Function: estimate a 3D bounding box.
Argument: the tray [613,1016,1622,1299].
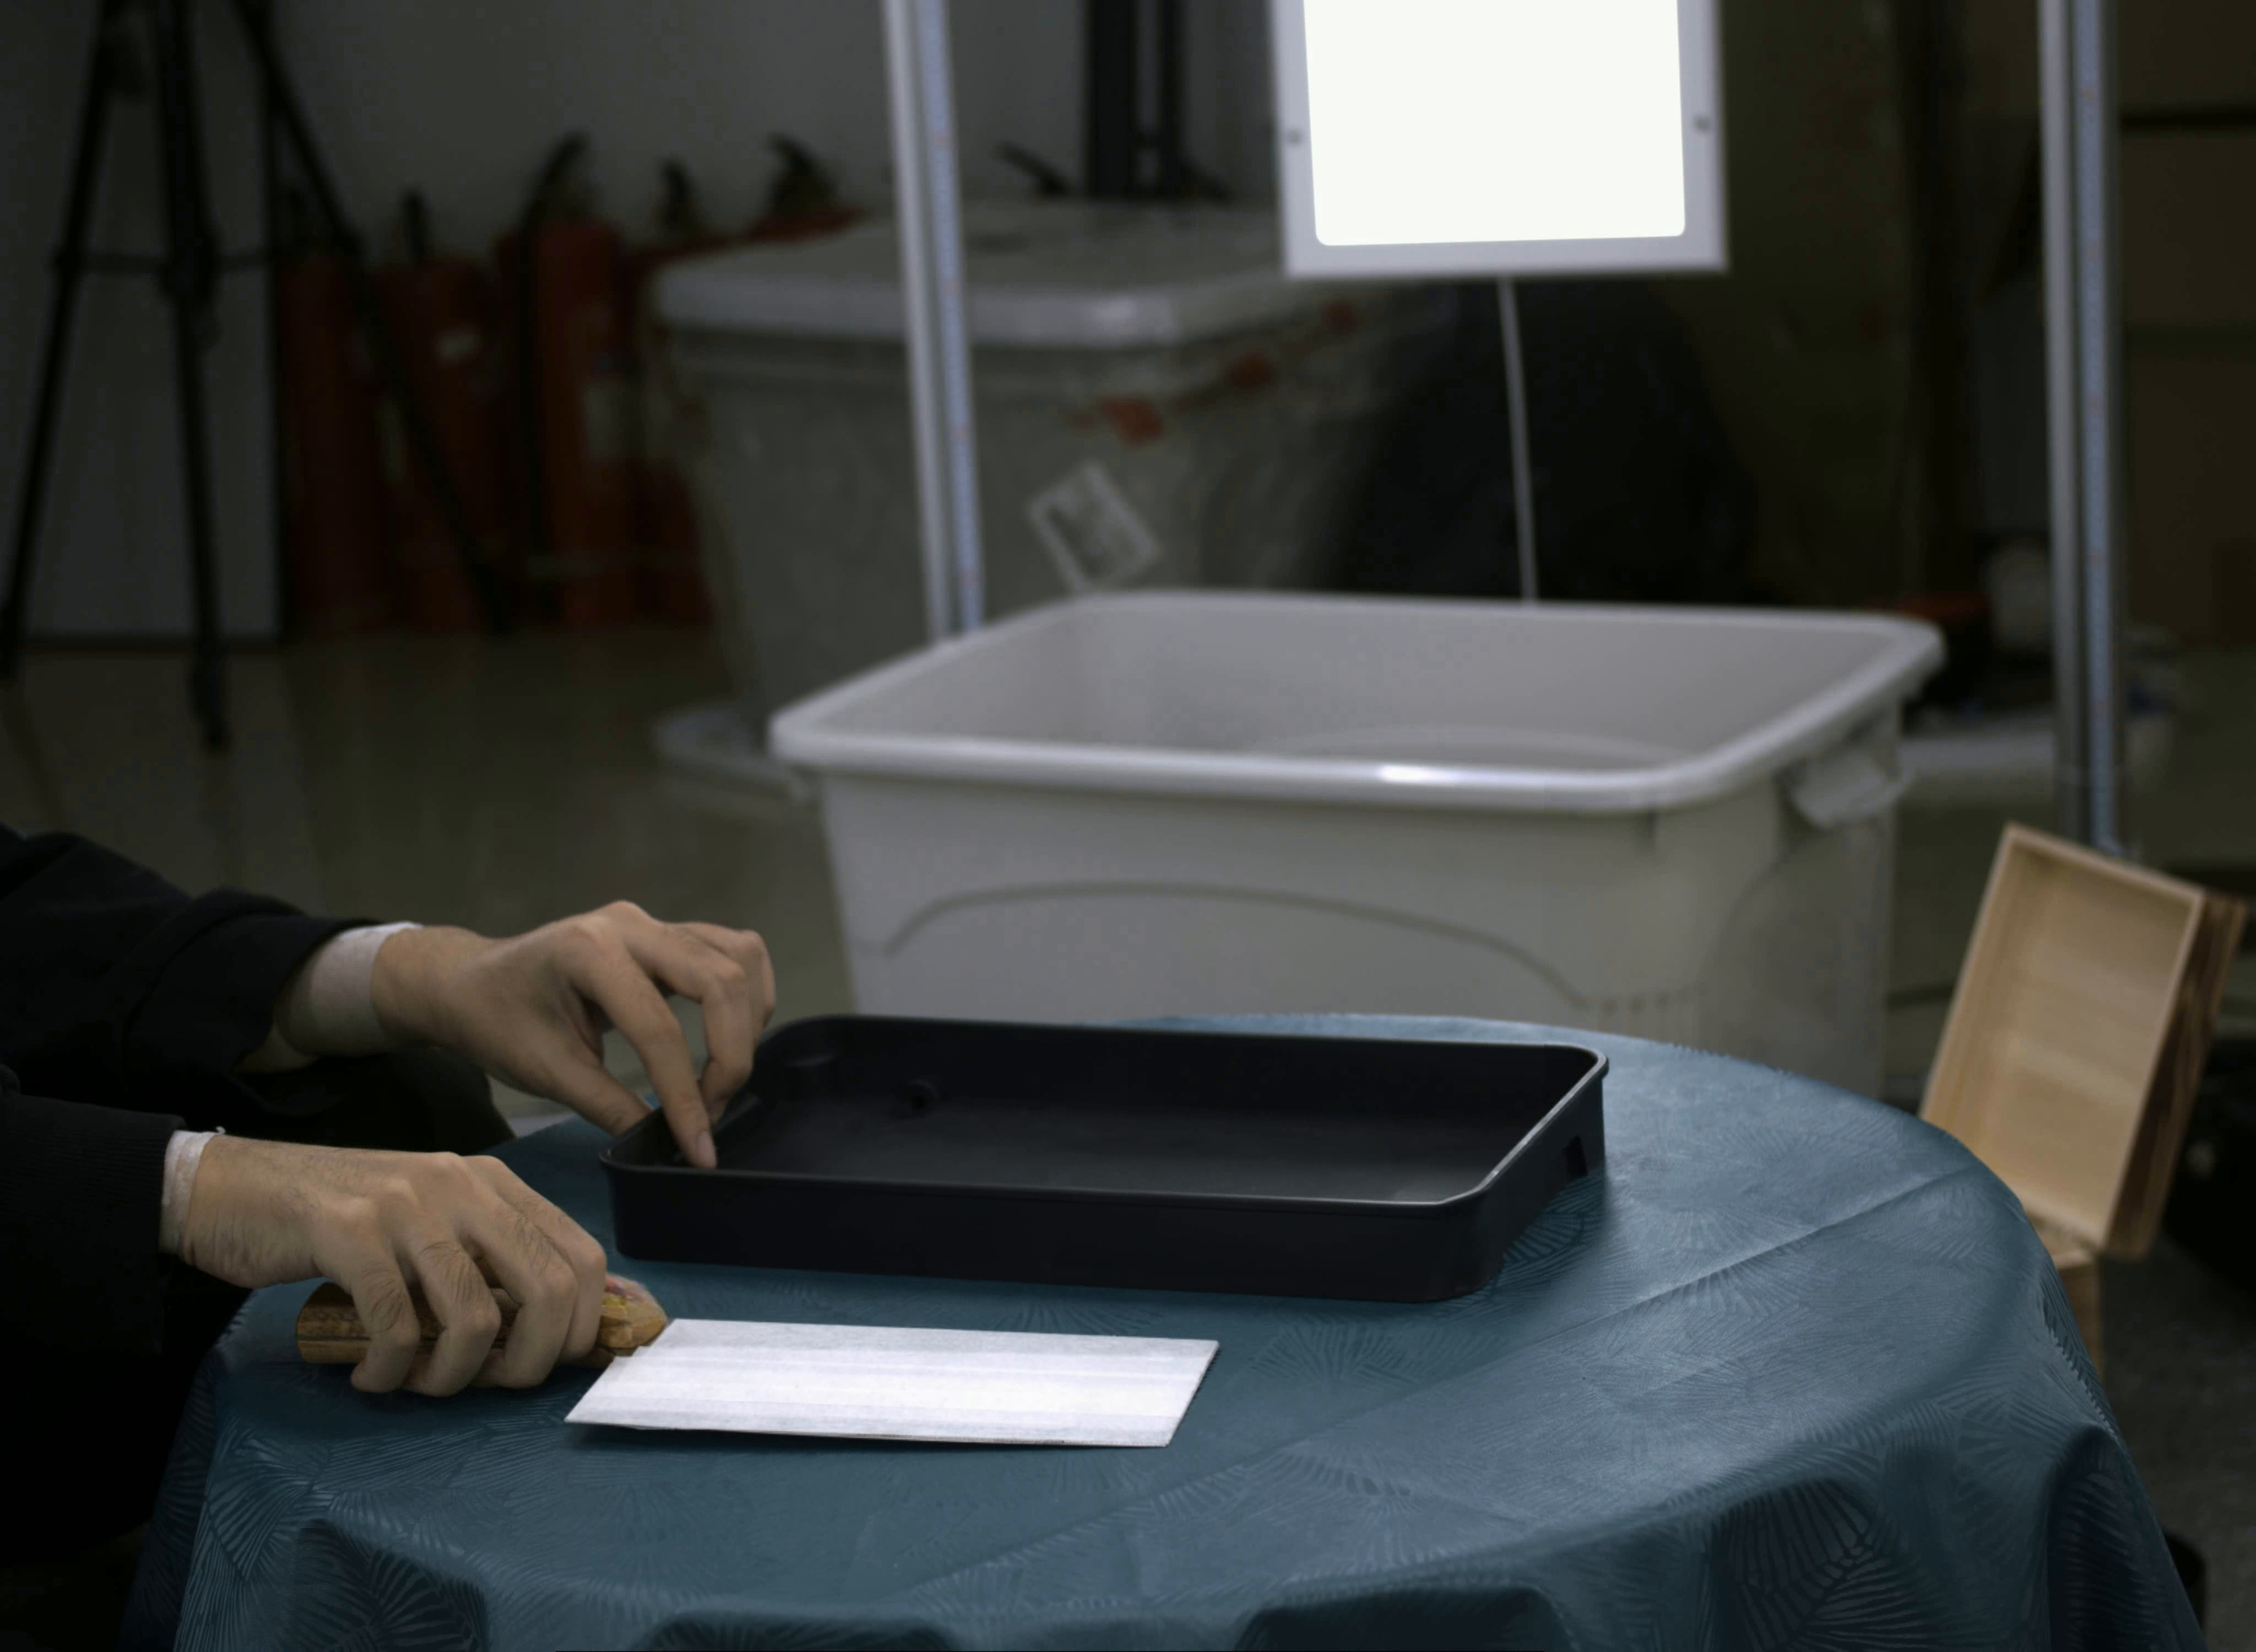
[{"bbox_3d":[-0.001,0.111,1.884,0.322,0.037,0.181,0,15,21],"label":"tray"}]

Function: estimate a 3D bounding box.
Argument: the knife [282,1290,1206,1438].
[{"bbox_3d":[-0.128,0.171,1.730,0.308,0.021,0.092,1,16,14],"label":"knife"}]
